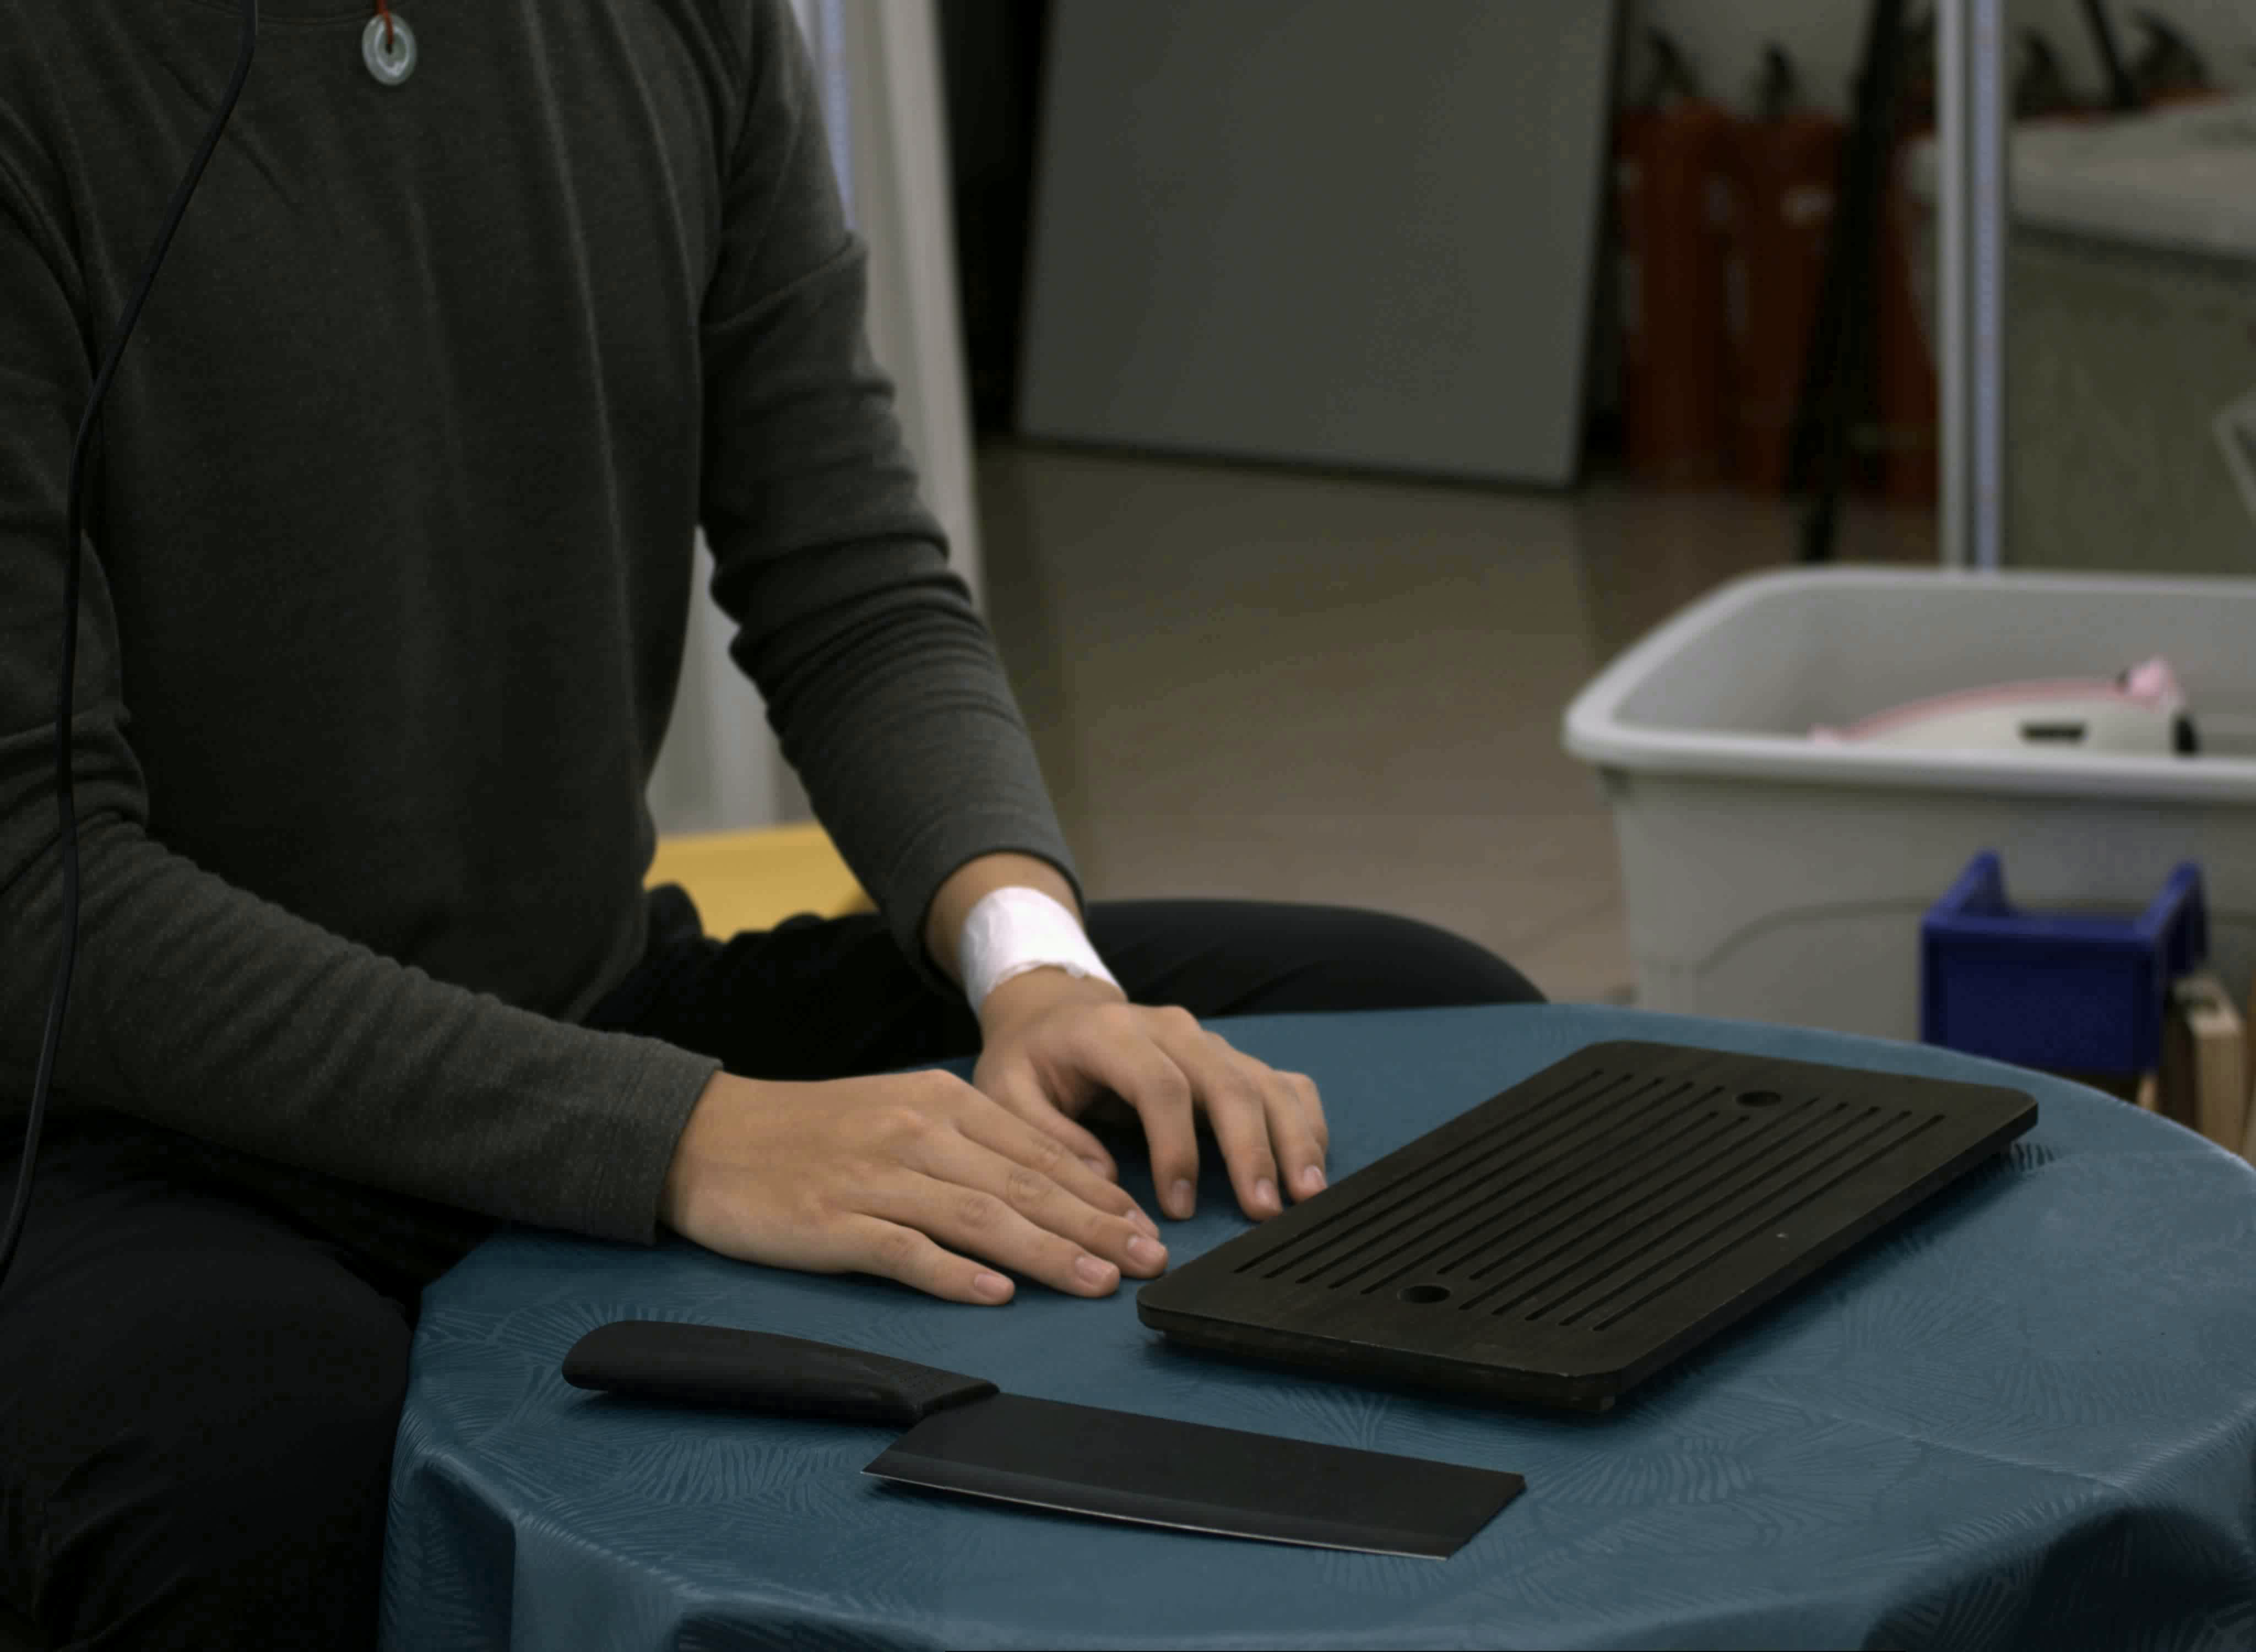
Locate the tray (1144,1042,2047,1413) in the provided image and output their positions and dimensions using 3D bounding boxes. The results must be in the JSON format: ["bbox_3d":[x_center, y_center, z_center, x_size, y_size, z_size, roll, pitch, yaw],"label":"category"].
[{"bbox_3d":[0.153,0.123,1.686,0.171,0.019,0.300,5,16,35],"label":"tray"}]

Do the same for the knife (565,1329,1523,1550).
[{"bbox_3d":[-0.032,0.175,1.535,0.304,0.021,0.079,6,18,32],"label":"knife"}]
